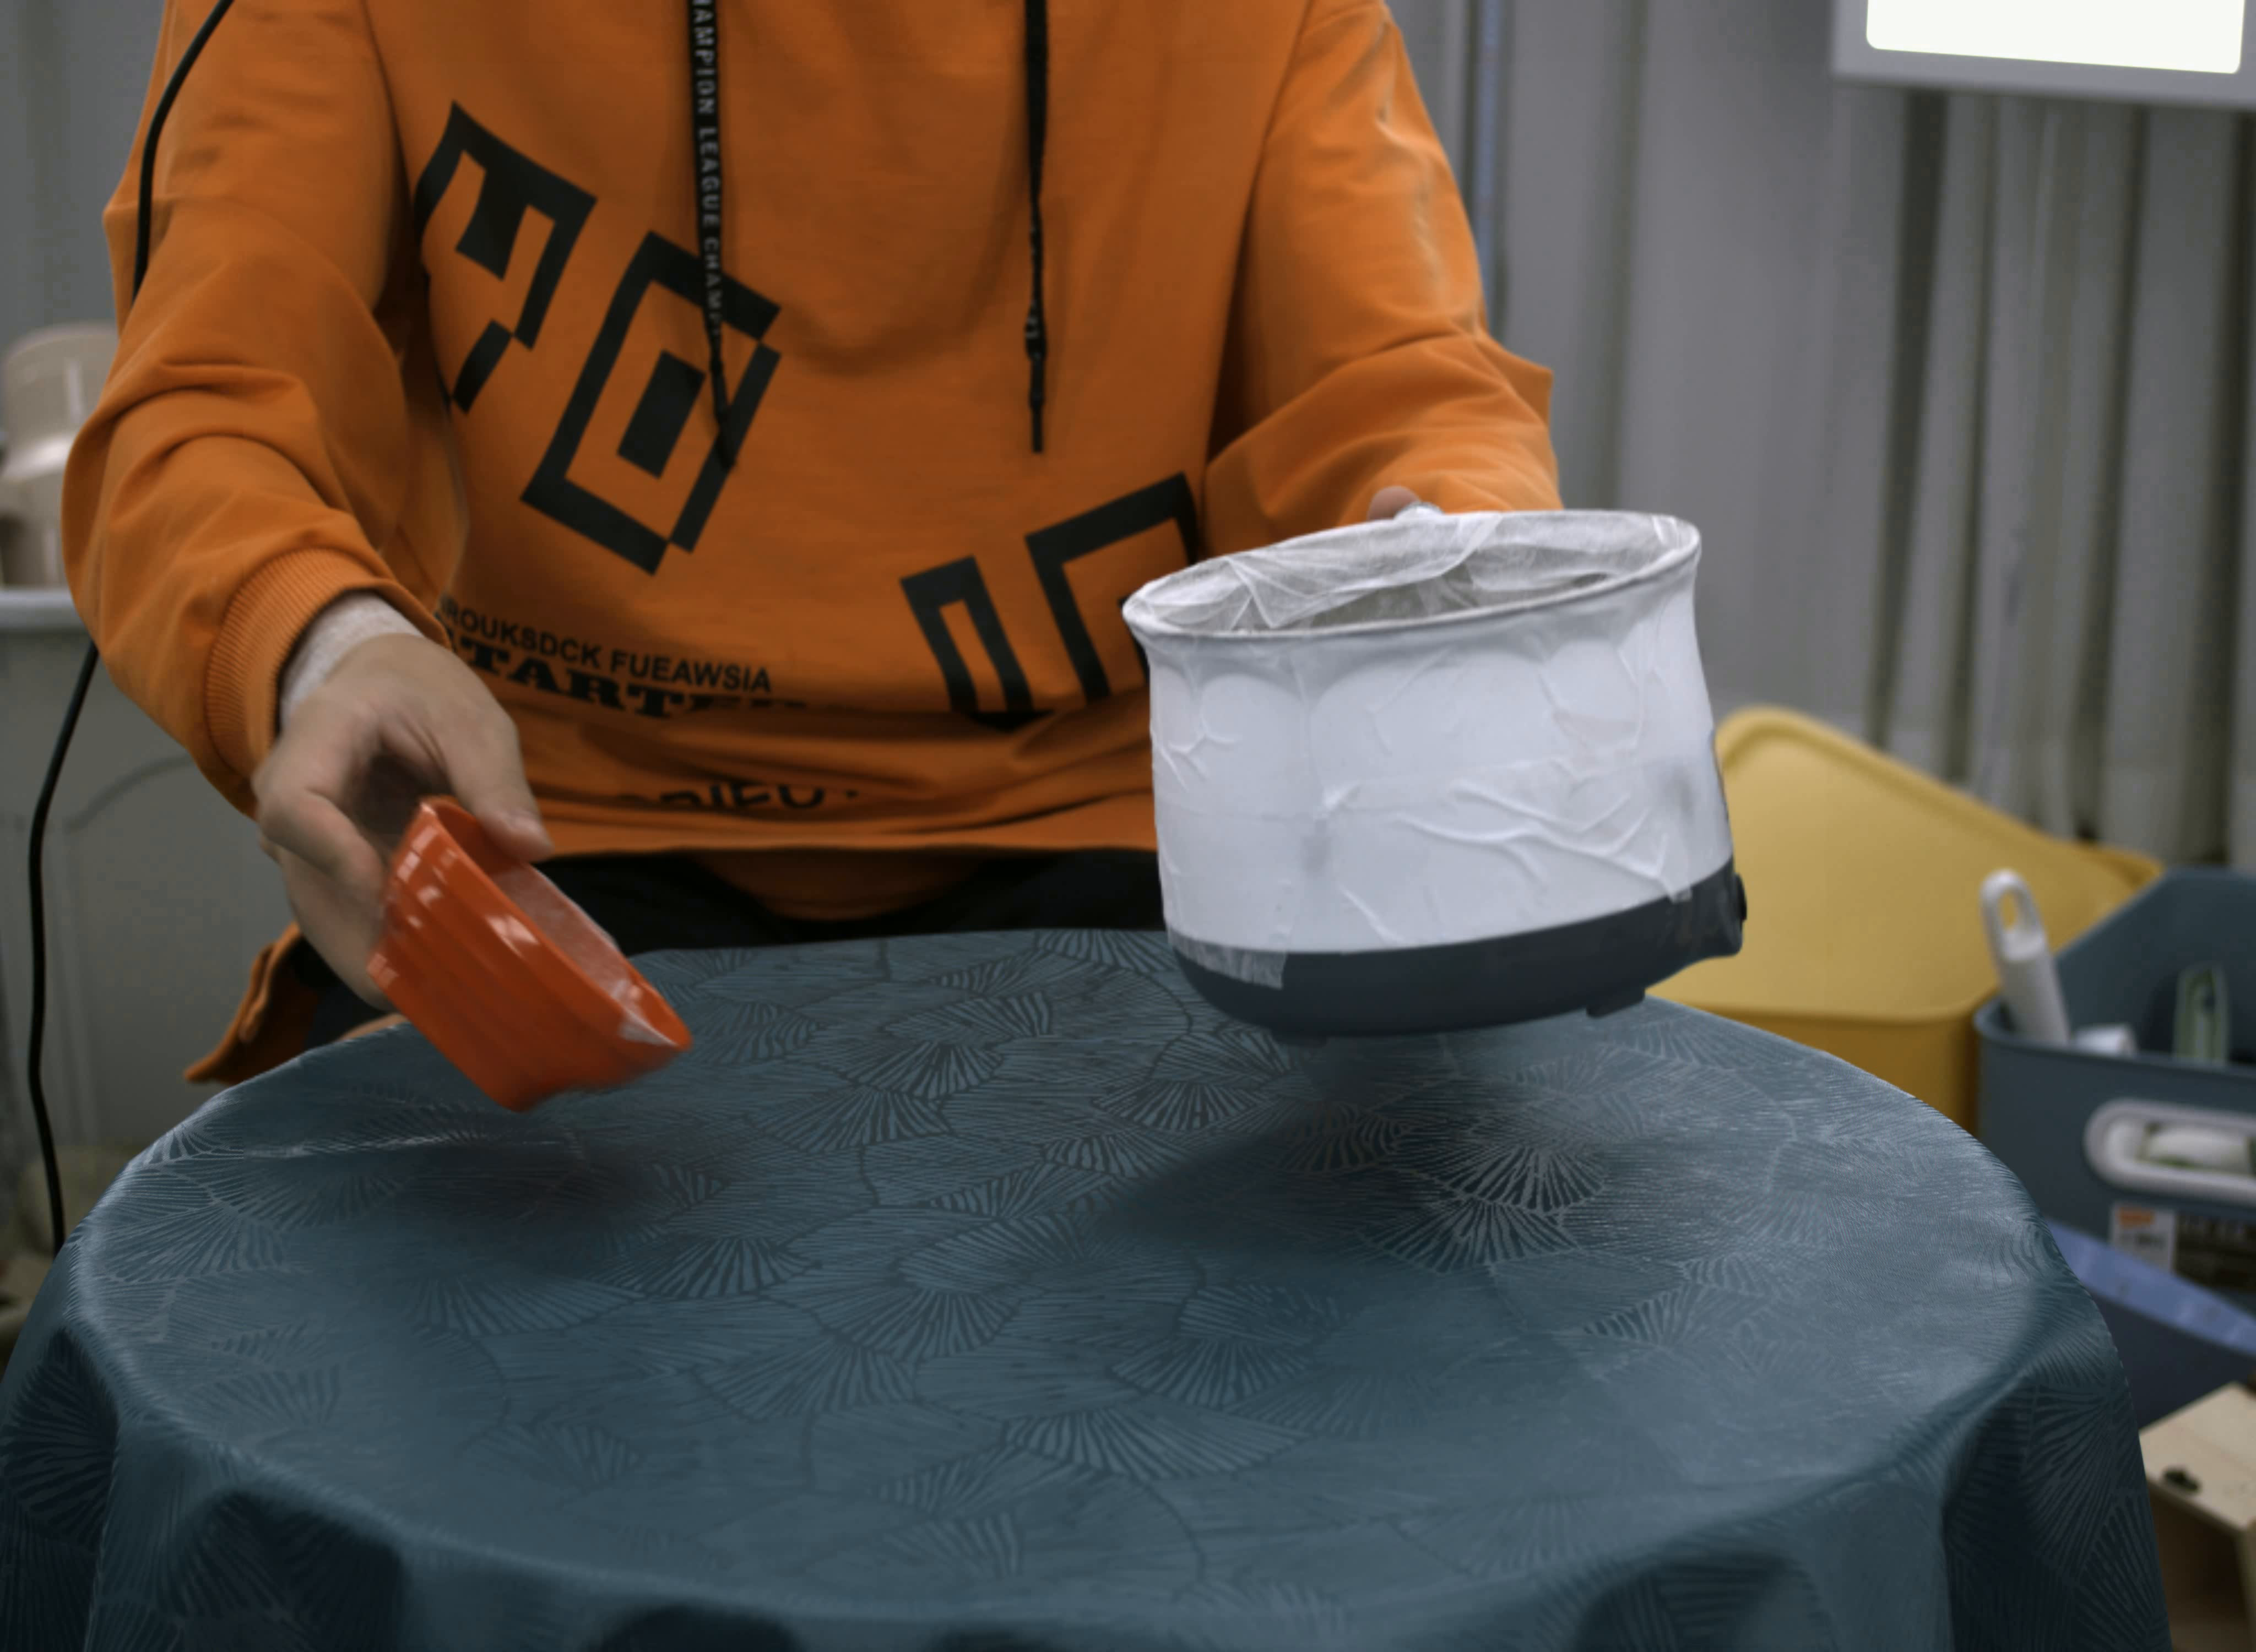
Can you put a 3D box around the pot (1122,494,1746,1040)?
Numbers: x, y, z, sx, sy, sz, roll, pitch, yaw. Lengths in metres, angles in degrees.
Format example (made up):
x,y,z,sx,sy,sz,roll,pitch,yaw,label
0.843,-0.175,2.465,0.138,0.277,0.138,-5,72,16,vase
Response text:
x,y,z,sx,sy,sz,roll,pitch,yaw,label
0.095,-0.024,1.630,0.178,0.137,0.233,-6,12,4,pot

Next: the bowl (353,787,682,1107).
x,y,z,sx,sy,sz,roll,pitch,yaw,label
-0.192,0.044,1.599,0.119,0.051,0.119,44,3,-2,bowl
